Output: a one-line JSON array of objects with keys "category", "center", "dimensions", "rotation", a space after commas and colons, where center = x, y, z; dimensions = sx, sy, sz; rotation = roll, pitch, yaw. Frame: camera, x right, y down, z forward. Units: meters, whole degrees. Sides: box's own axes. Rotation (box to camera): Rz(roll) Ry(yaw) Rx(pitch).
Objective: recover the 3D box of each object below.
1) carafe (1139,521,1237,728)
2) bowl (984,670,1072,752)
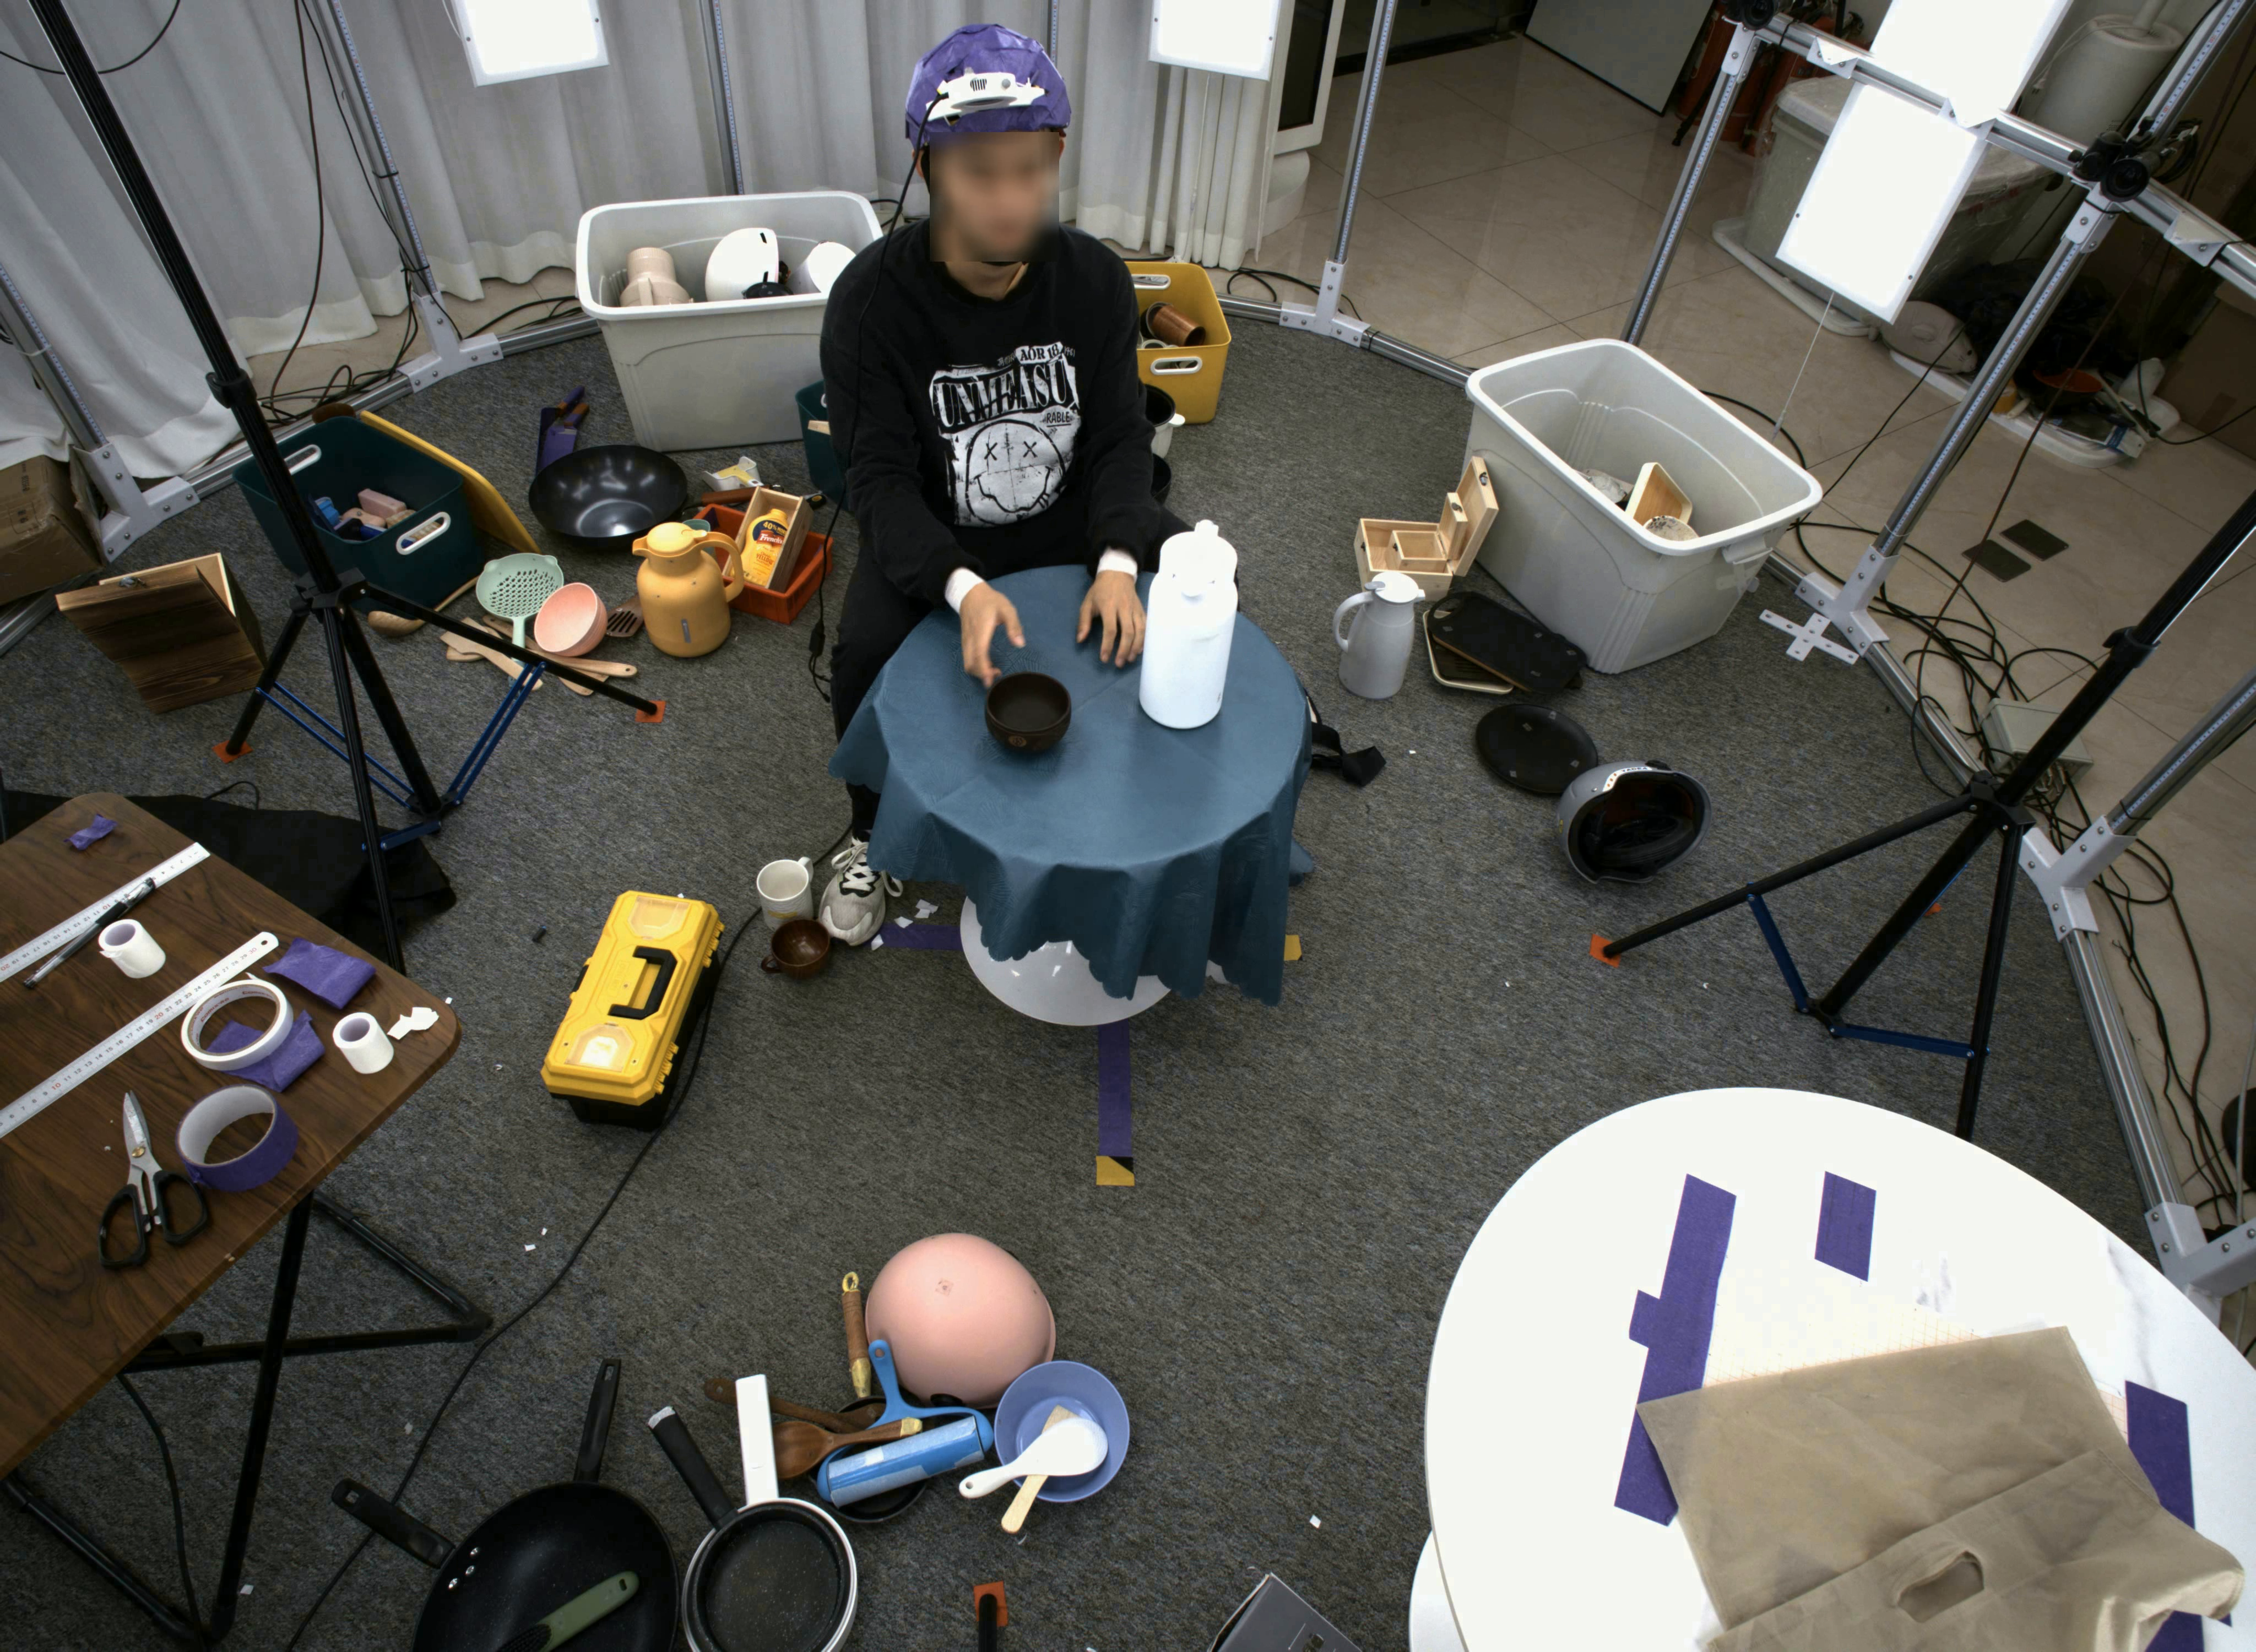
[{"category": "carafe", "center": [0.083, -0.275, 1.740], "dimensions": [0.124, 0.262, 0.177], "rotation": [8, 49, 5]}, {"category": "bowl", "center": [-0.136, -0.148, 1.741], "dimensions": [0.118, 0.068, 0.121], "rotation": [2, 50, -2]}]
